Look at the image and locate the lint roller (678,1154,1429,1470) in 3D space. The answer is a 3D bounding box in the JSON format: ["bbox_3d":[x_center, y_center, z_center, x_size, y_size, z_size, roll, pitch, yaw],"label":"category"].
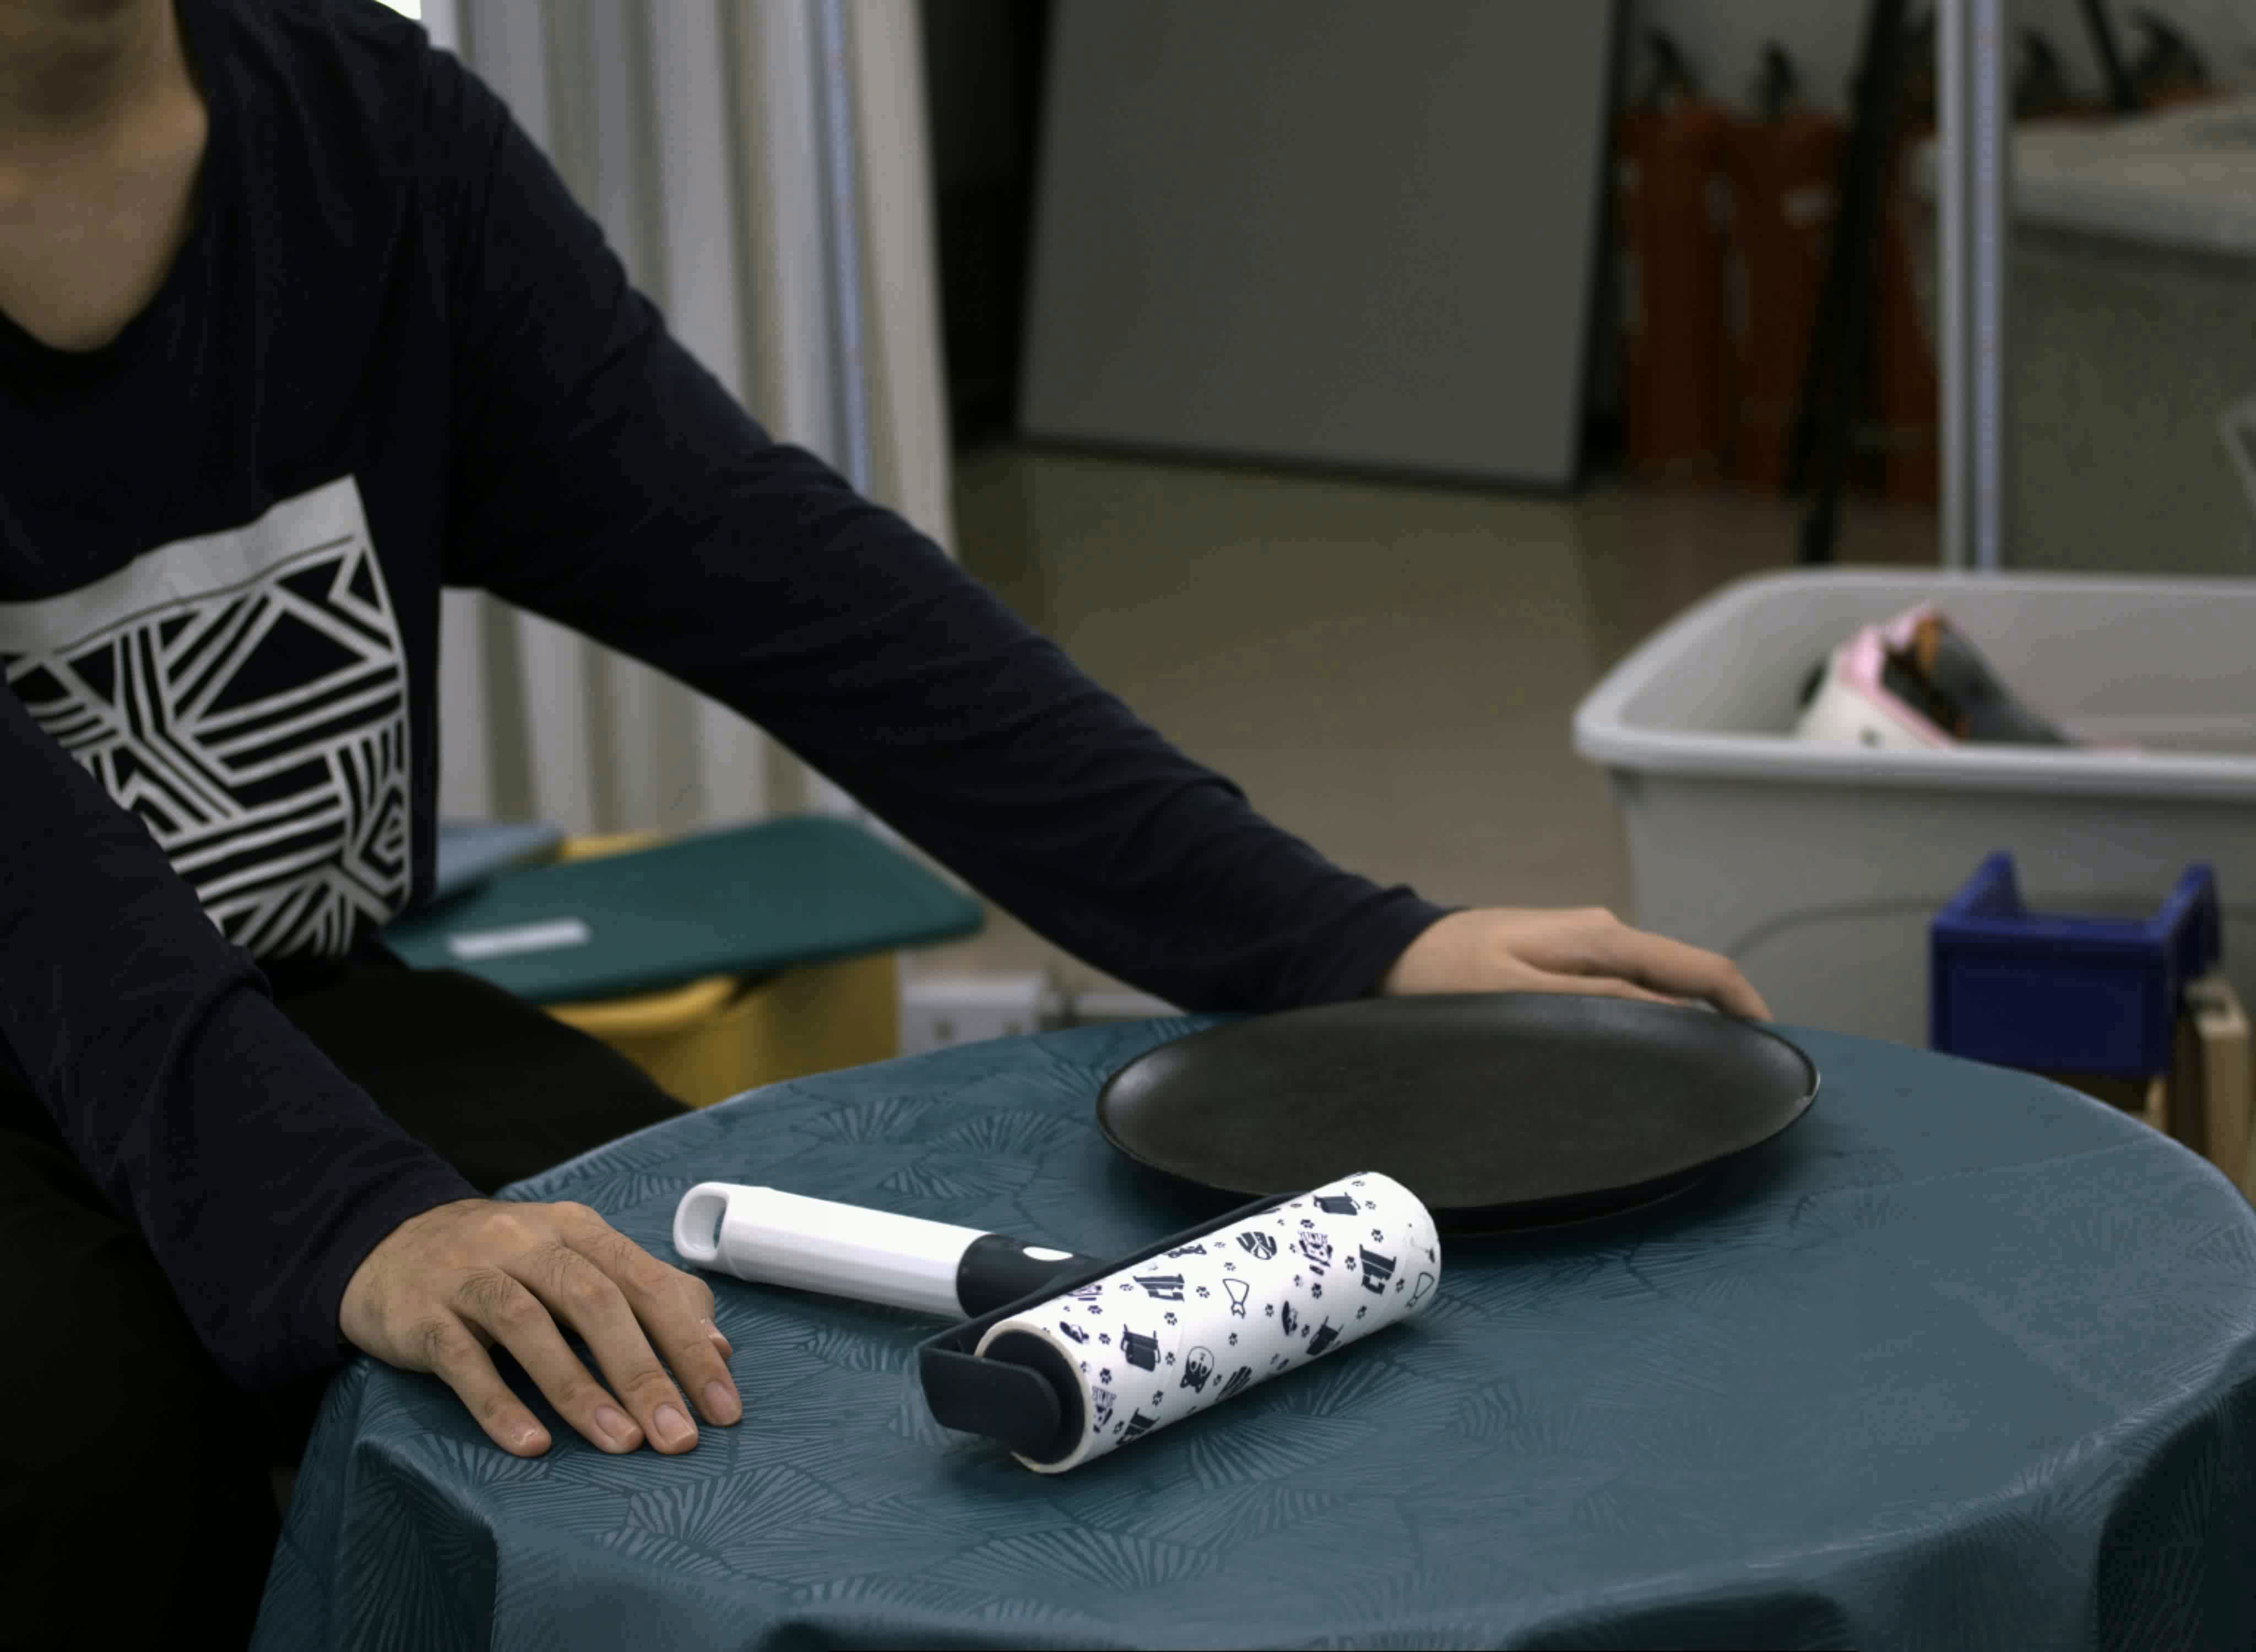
[{"bbox_3d":[-0.051,0.137,1.643,0.249,0.051,0.173,4,16,43],"label":"lint roller"}]

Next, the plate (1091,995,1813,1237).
[{"bbox_3d":[0.107,0.099,1.791,0.241,0.024,0.245,-4,13,0],"label":"plate"}]
